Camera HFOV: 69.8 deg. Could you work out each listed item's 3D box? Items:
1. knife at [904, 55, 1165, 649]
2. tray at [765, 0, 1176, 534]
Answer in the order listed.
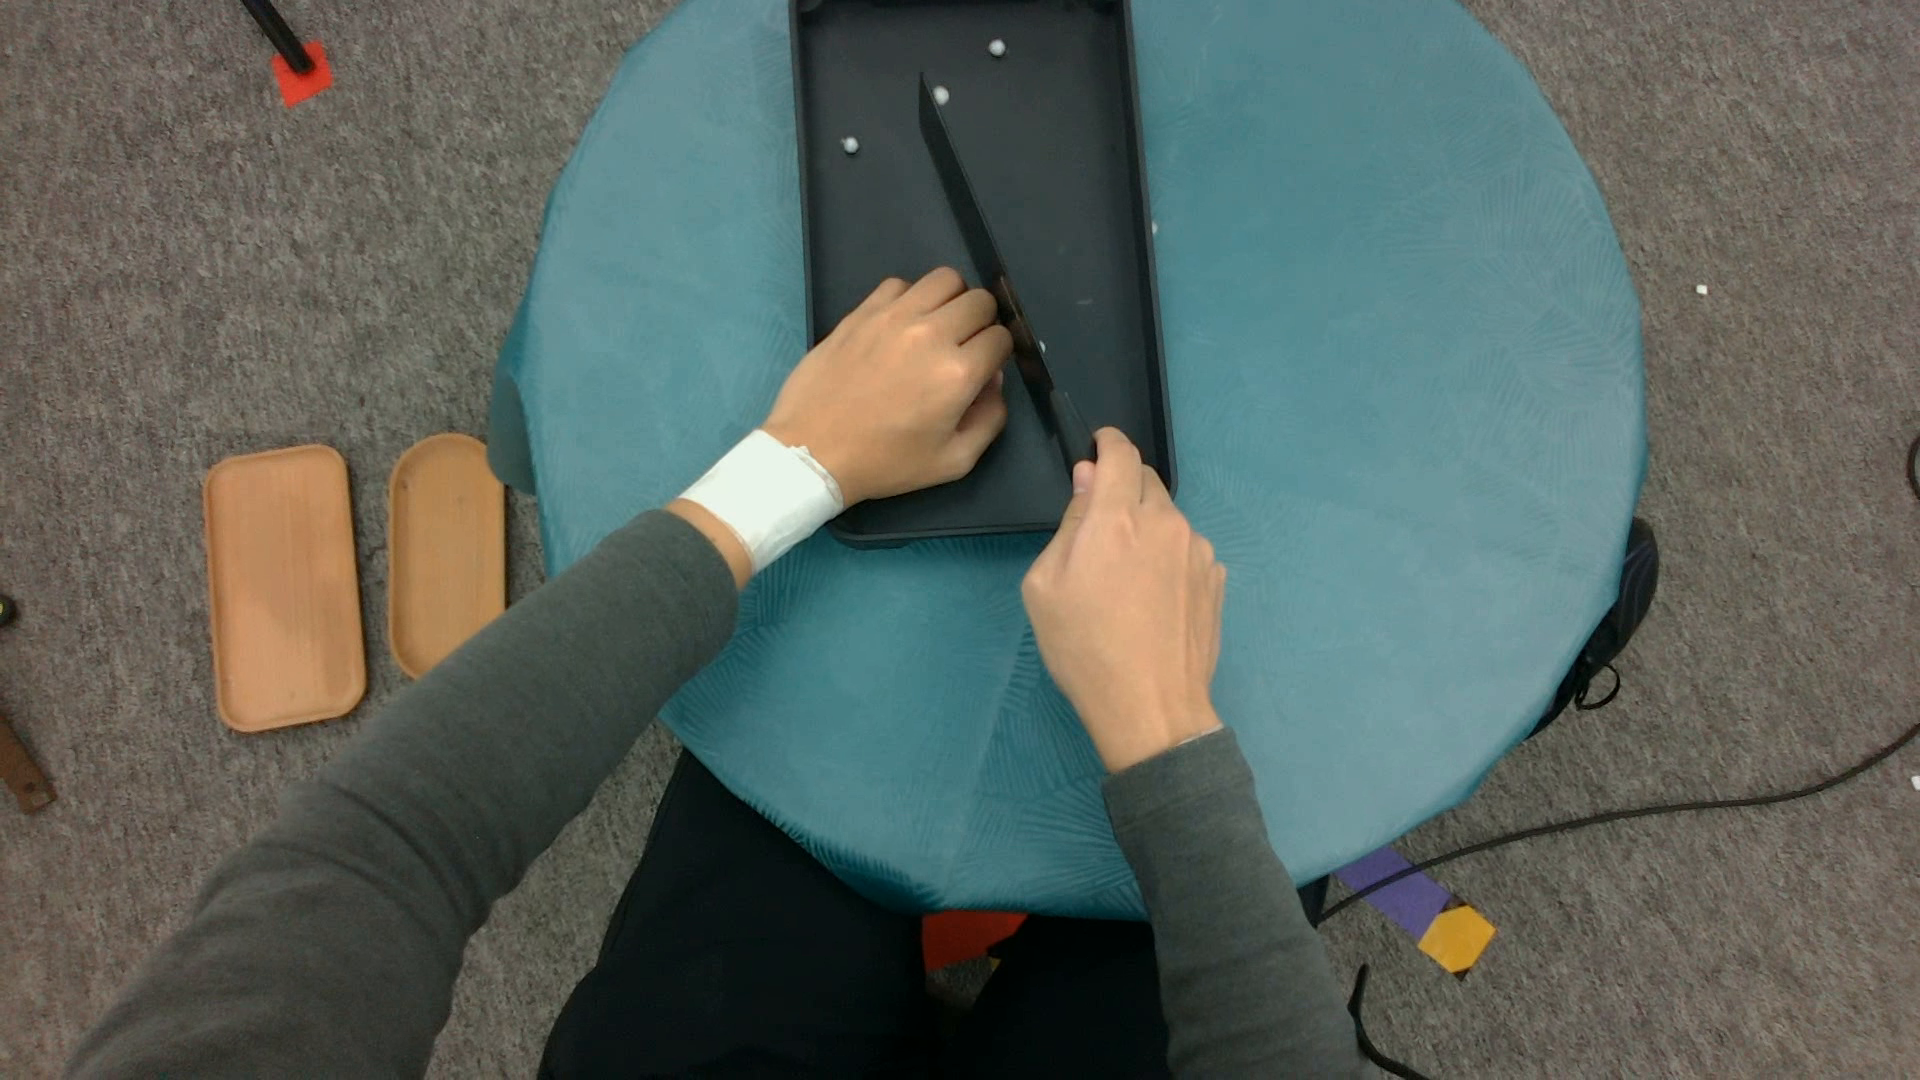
[{"bbox_3d":[0.029,-0.090,0.657,0.021,0.081,0.302,-22,78,-5],"label":"knife"},{"bbox_3d":[0.001,-0.164,0.727,0.184,0.037,0.318,-6,77,-4],"label":"tray"}]
